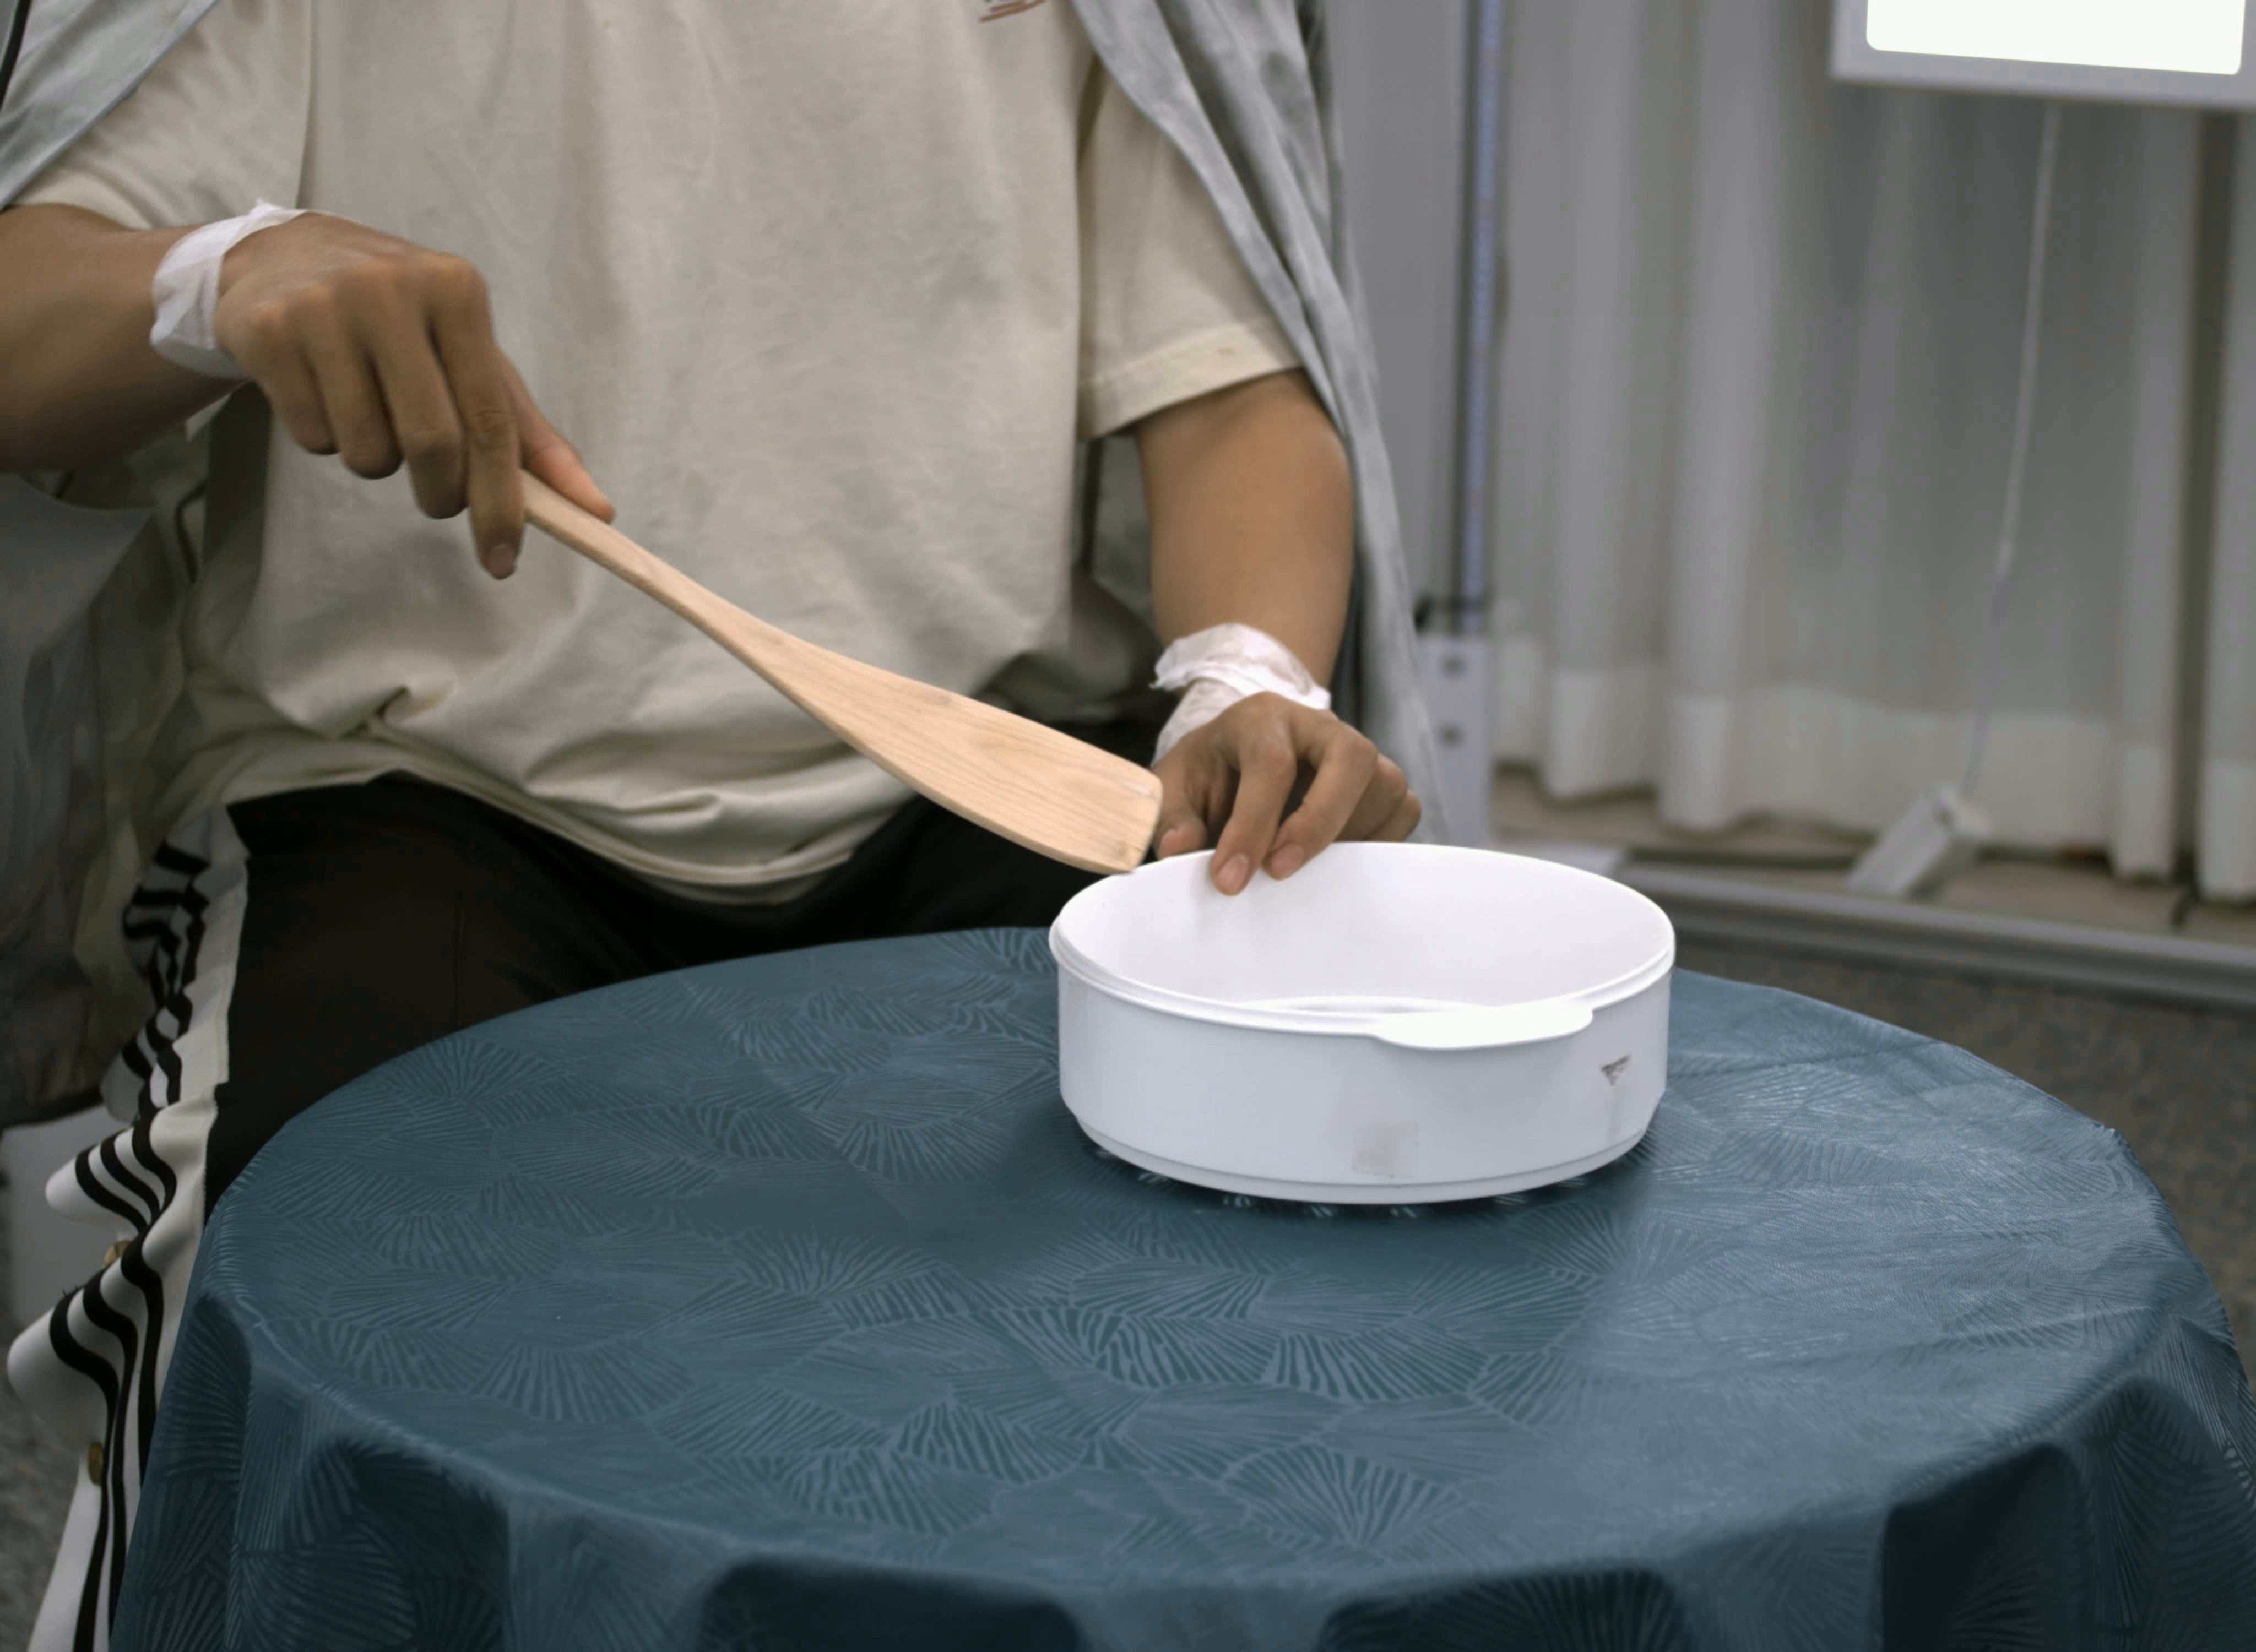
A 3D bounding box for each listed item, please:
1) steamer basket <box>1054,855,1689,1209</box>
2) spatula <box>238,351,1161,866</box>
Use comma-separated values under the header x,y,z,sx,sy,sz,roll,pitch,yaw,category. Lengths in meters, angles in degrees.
x,y,z,sx,sy,sz,roll,pitch,yaw,category
0.077,0.065,1.677,0.202,0.070,0.228,-4,15,-20,steamer basket
-0.133,-0.072,1.632,0.326,0.016,0.080,29,27,6,spatula
